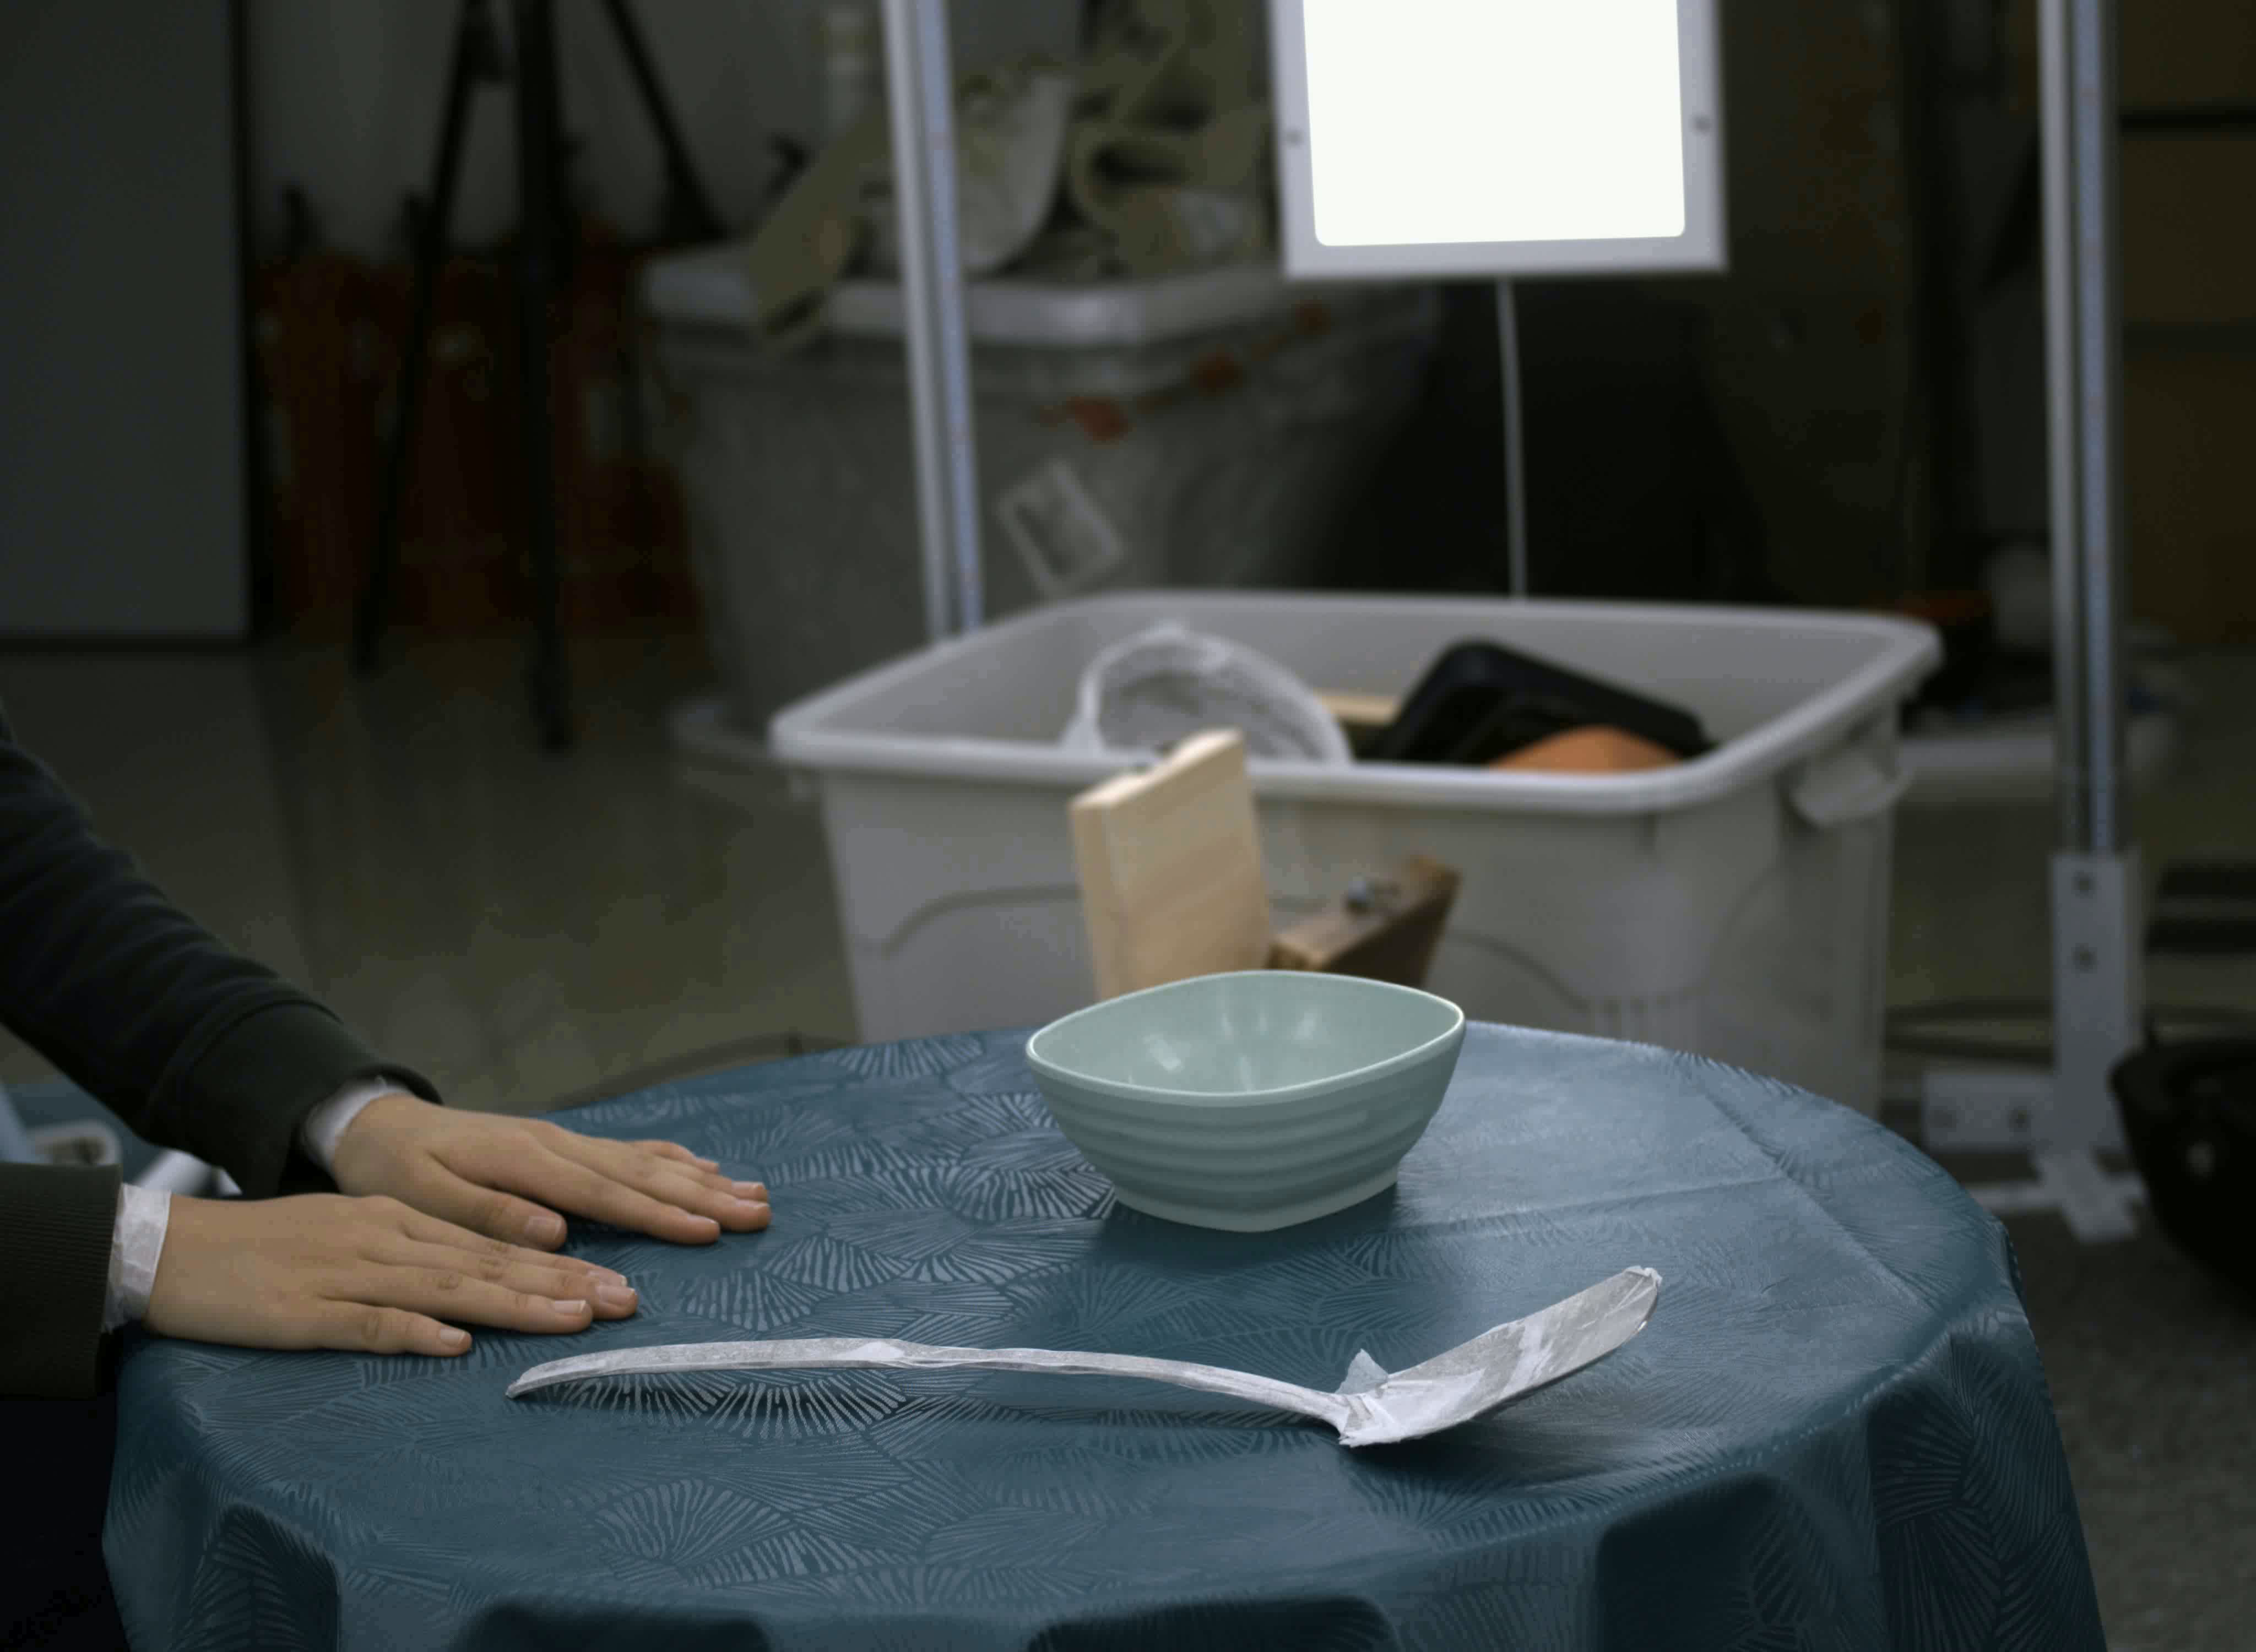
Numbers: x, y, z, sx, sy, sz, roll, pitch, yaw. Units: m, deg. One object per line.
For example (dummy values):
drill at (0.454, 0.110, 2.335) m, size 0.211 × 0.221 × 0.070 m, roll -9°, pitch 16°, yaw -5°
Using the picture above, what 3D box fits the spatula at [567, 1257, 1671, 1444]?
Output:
spatula at (-0.013, 0.159, 1.686) m, size 0.370 × 0.045 × 0.097 m, roll 1°, pitch 16°, yaw 21°

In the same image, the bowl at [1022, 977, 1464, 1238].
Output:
bowl at (0.040, 0.099, 1.882) m, size 0.151 × 0.059 × 0.151 m, roll -3°, pitch 14°, yaw -1°
